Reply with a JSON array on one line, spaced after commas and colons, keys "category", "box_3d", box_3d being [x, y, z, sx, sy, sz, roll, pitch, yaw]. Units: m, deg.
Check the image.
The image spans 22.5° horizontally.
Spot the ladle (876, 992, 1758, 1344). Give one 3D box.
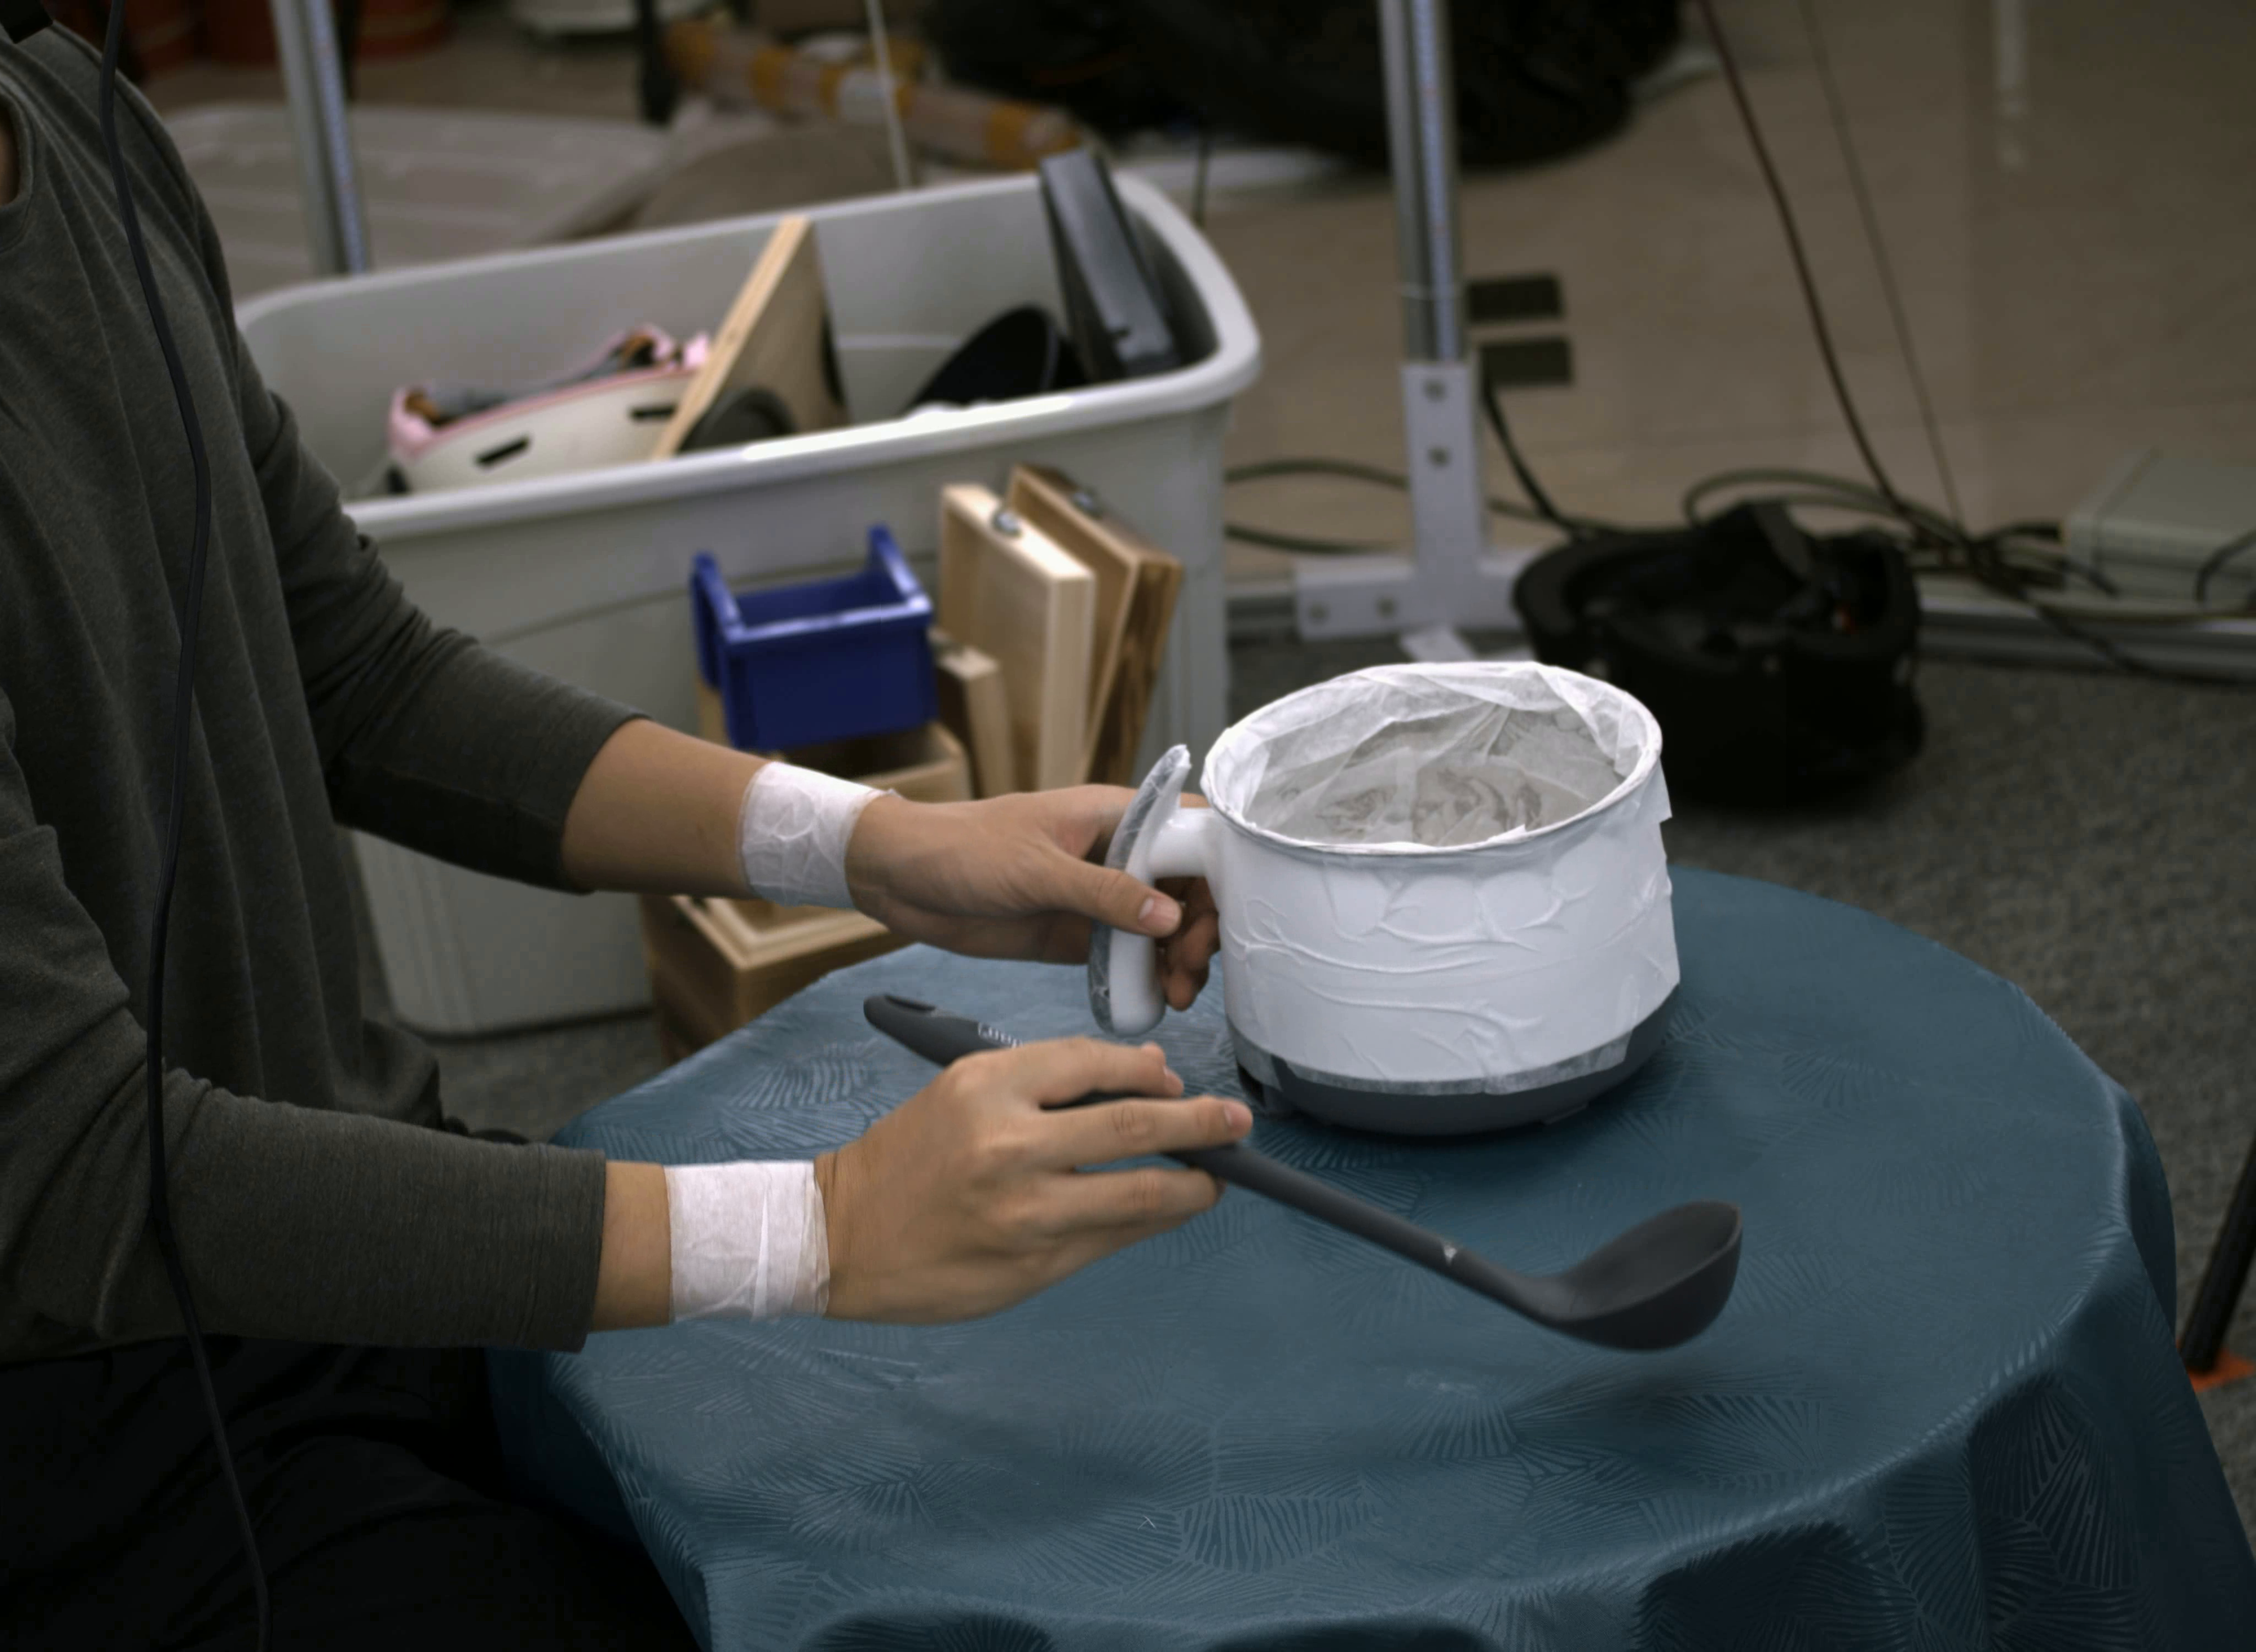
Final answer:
[{"category": "ladle", "box_3d": [0.065, 0.102, 1.955, 0.313, 0.064, 0.085, 23, 14, 1]}]

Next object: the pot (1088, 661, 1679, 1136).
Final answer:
[{"category": "pot", "box_3d": [0.096, 0.030, 2.198, 0.233, 0.139, 0.176, -1, 25, 12]}]
